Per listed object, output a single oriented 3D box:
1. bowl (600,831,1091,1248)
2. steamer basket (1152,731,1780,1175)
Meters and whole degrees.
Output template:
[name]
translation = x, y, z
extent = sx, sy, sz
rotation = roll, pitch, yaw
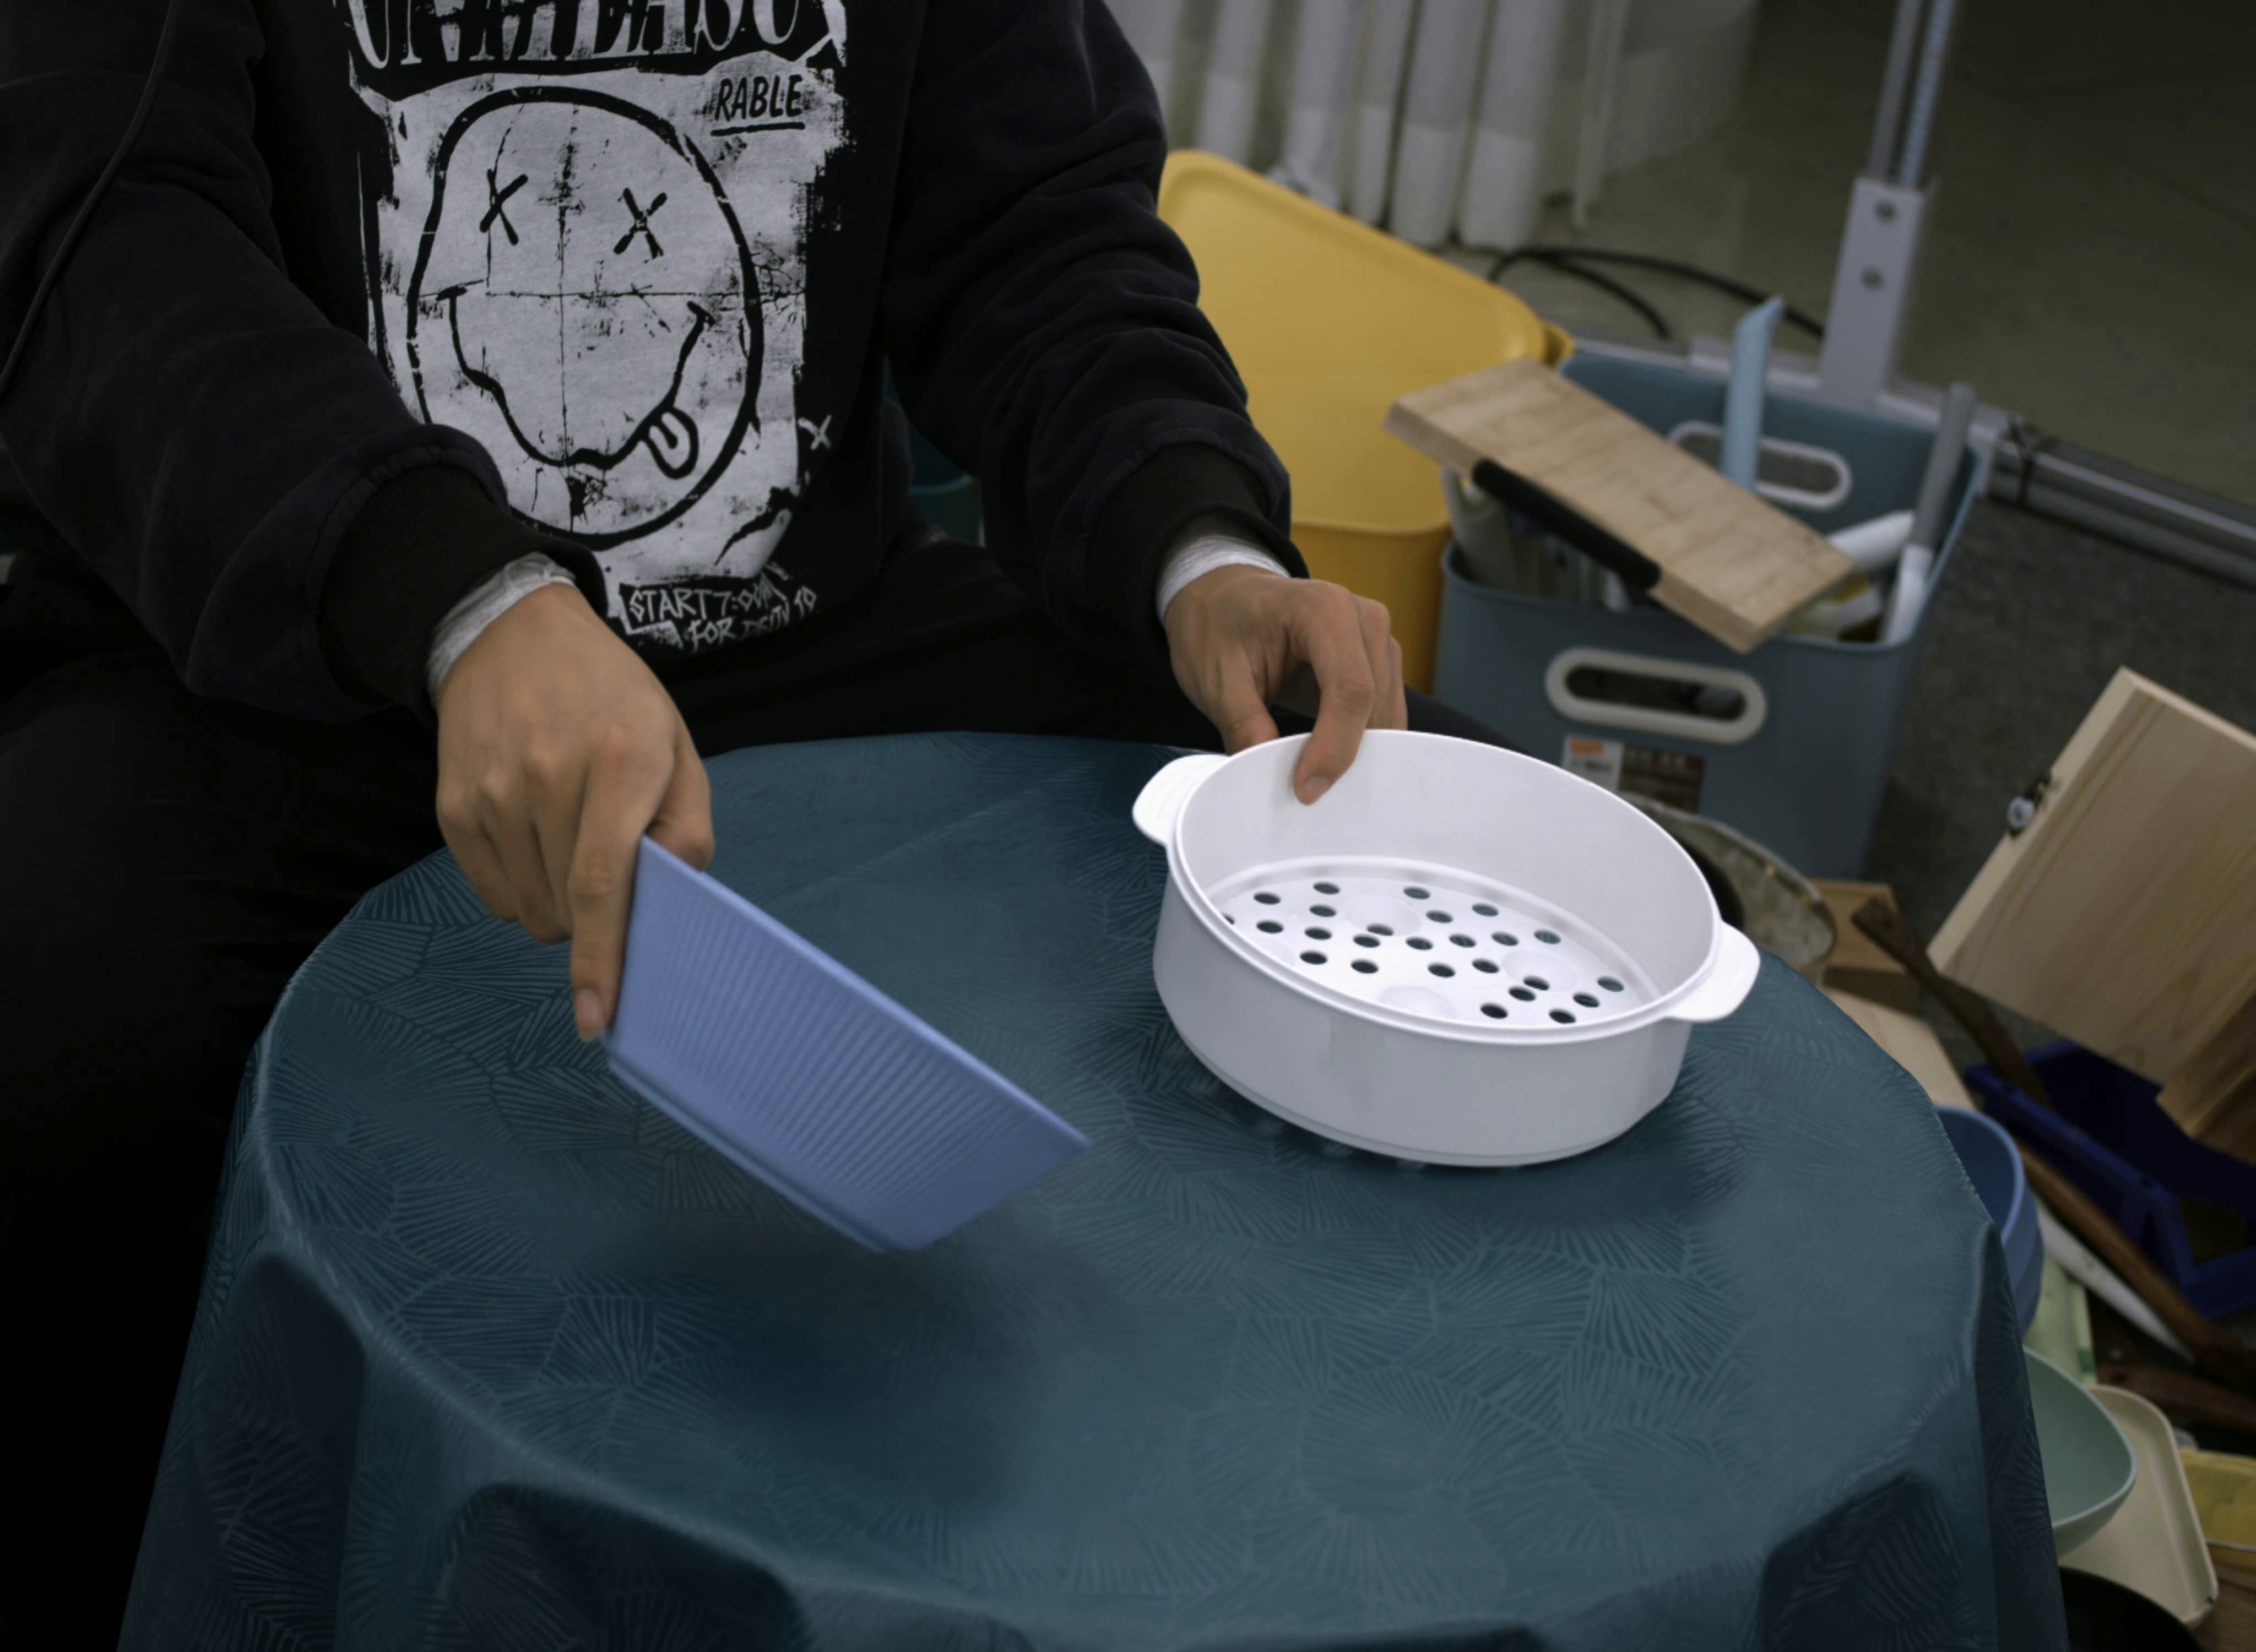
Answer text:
[bowl]
translation = -0.101, 0.076, 1.686
extent = 0.176, 0.070, 0.176
rotation = 34, -2, 1
[steamer basket]
translation = 0.113, 0.046, 1.894
extent = 0.231, 0.069, 0.202
rotation = 20, 32, 13
